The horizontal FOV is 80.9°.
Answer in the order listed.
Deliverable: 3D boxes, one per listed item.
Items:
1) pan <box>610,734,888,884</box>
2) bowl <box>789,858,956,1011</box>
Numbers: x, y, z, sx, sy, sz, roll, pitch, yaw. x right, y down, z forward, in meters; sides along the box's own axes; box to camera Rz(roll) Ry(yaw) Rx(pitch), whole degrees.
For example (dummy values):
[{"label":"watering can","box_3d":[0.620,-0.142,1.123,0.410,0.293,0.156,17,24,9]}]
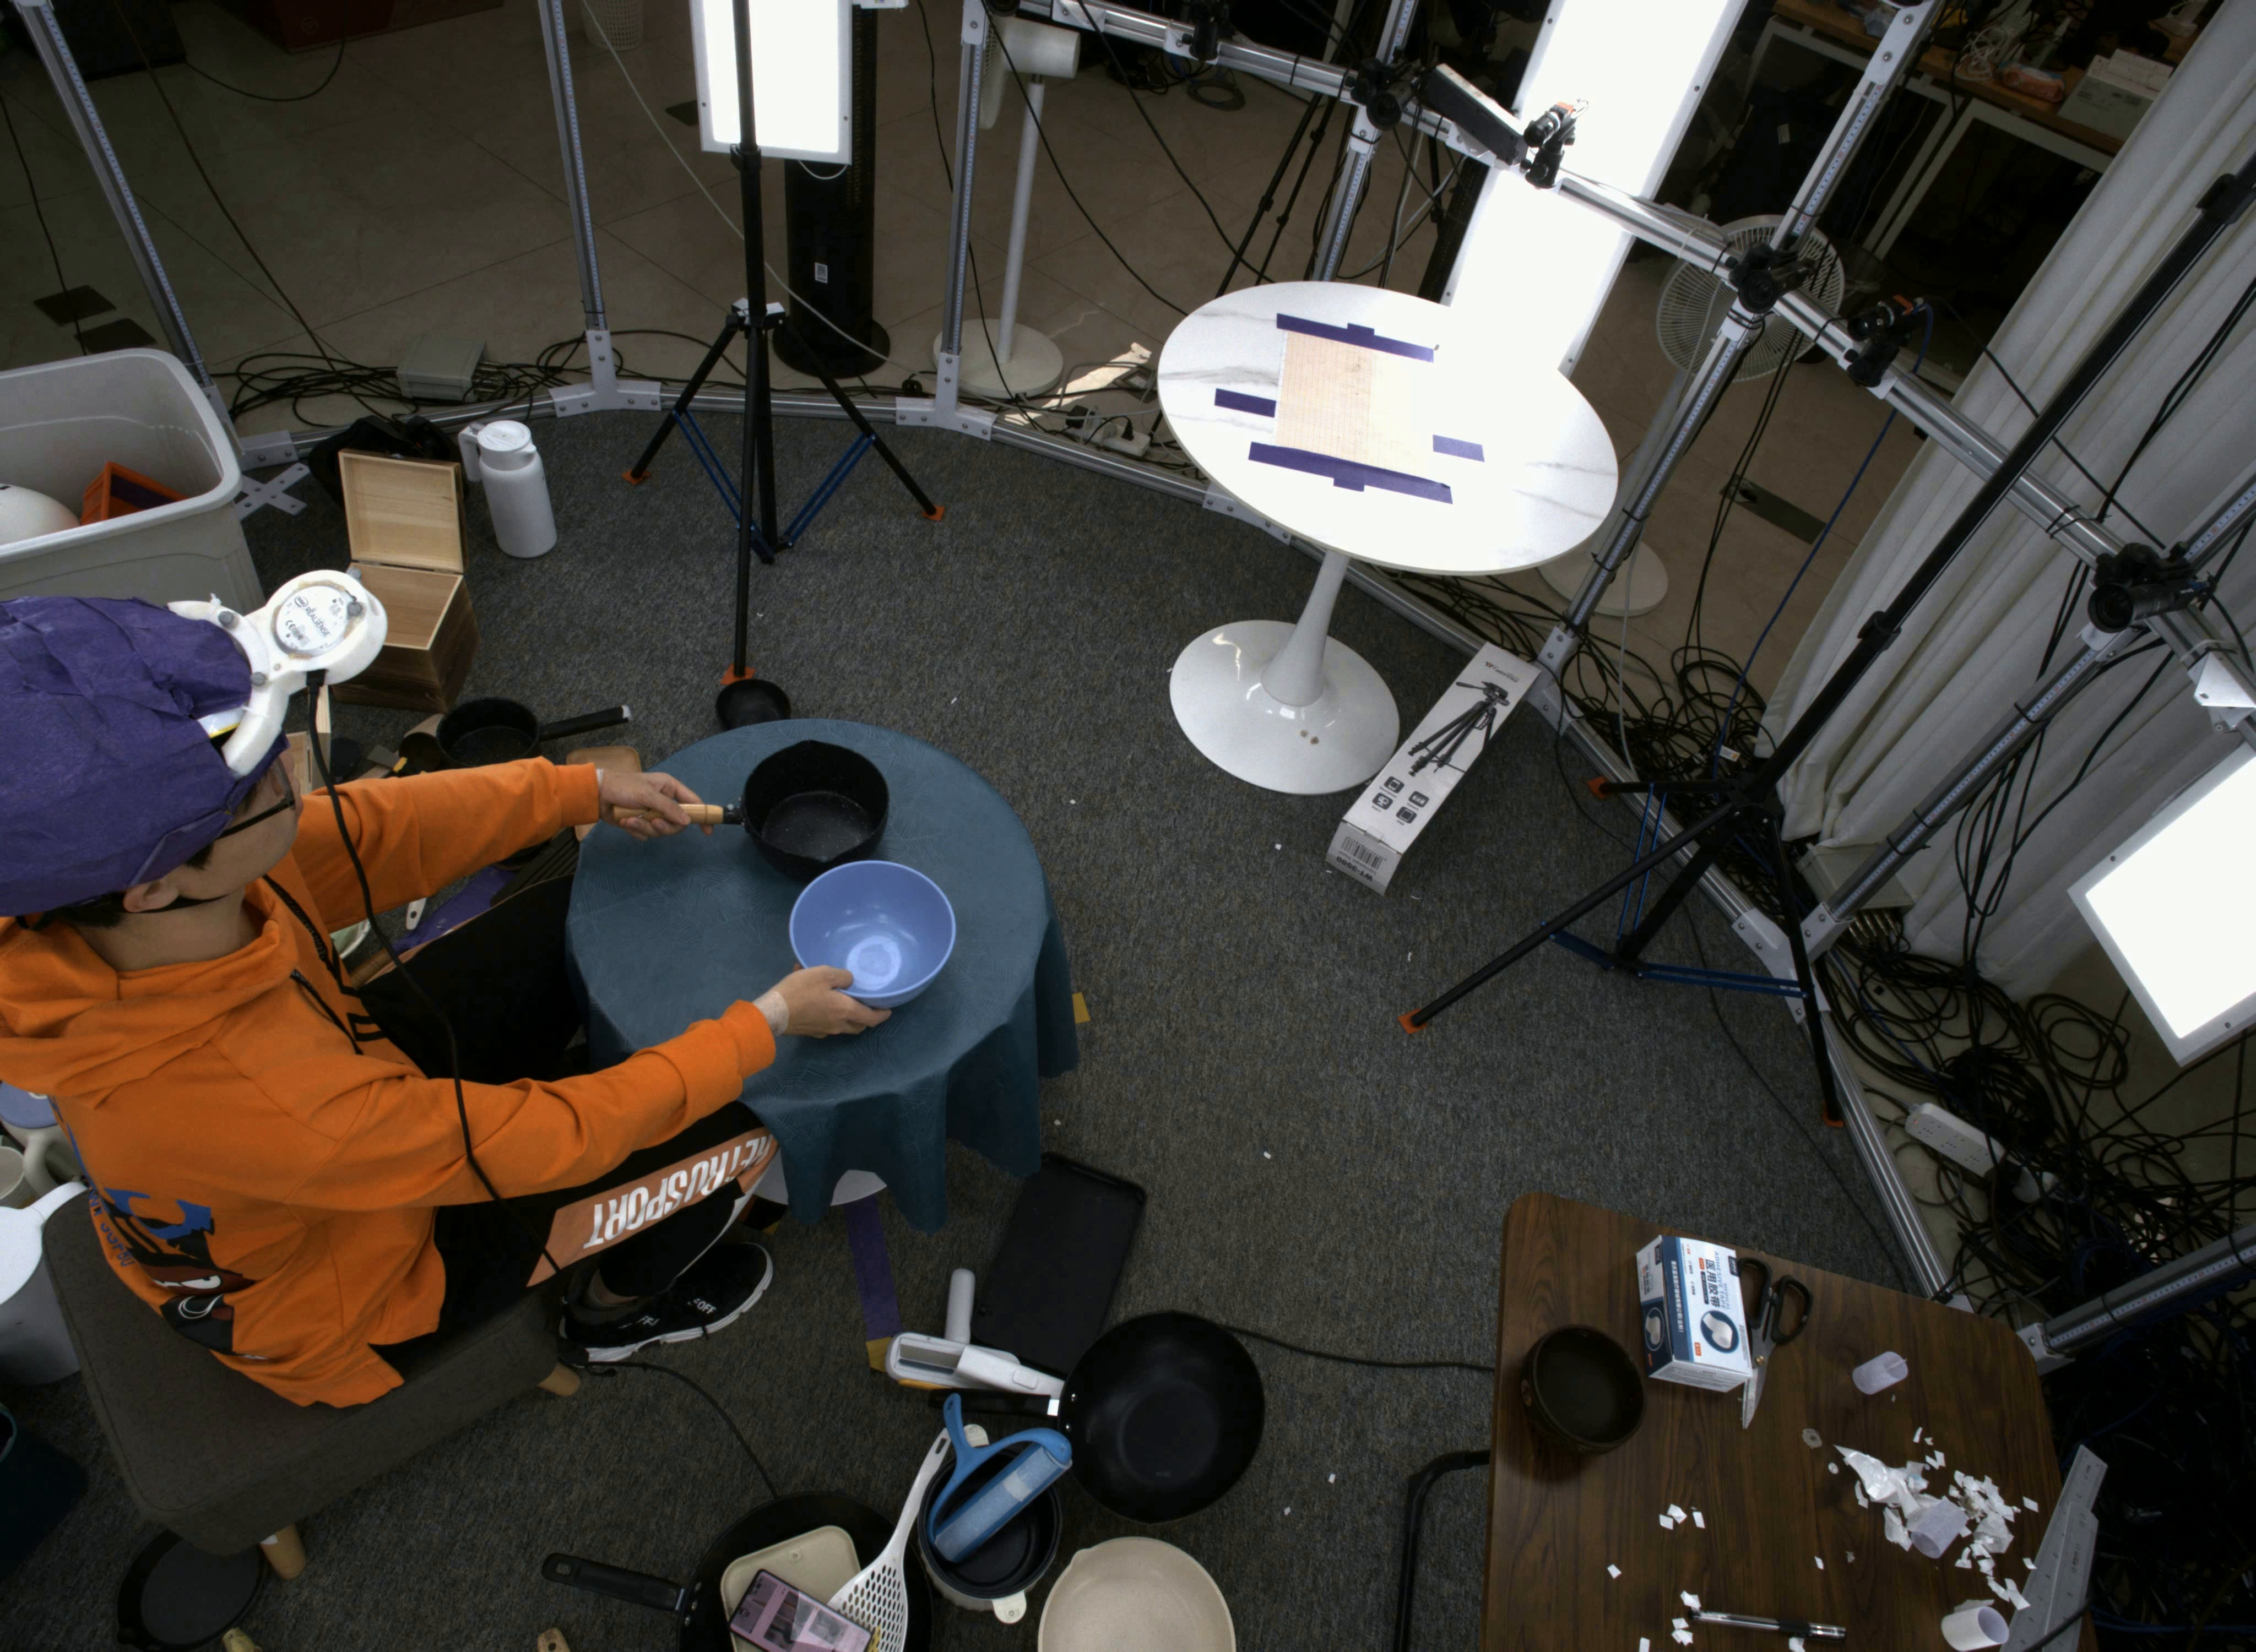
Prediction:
[{"label":"pan","box_3d":[-0.477,-0.010,1.638,0.344,0.110,0.203,-7,57,-20]},{"label":"bowl","box_3d":[-0.309,0.145,1.573,0.196,0.097,0.193,8,52,-9]}]
